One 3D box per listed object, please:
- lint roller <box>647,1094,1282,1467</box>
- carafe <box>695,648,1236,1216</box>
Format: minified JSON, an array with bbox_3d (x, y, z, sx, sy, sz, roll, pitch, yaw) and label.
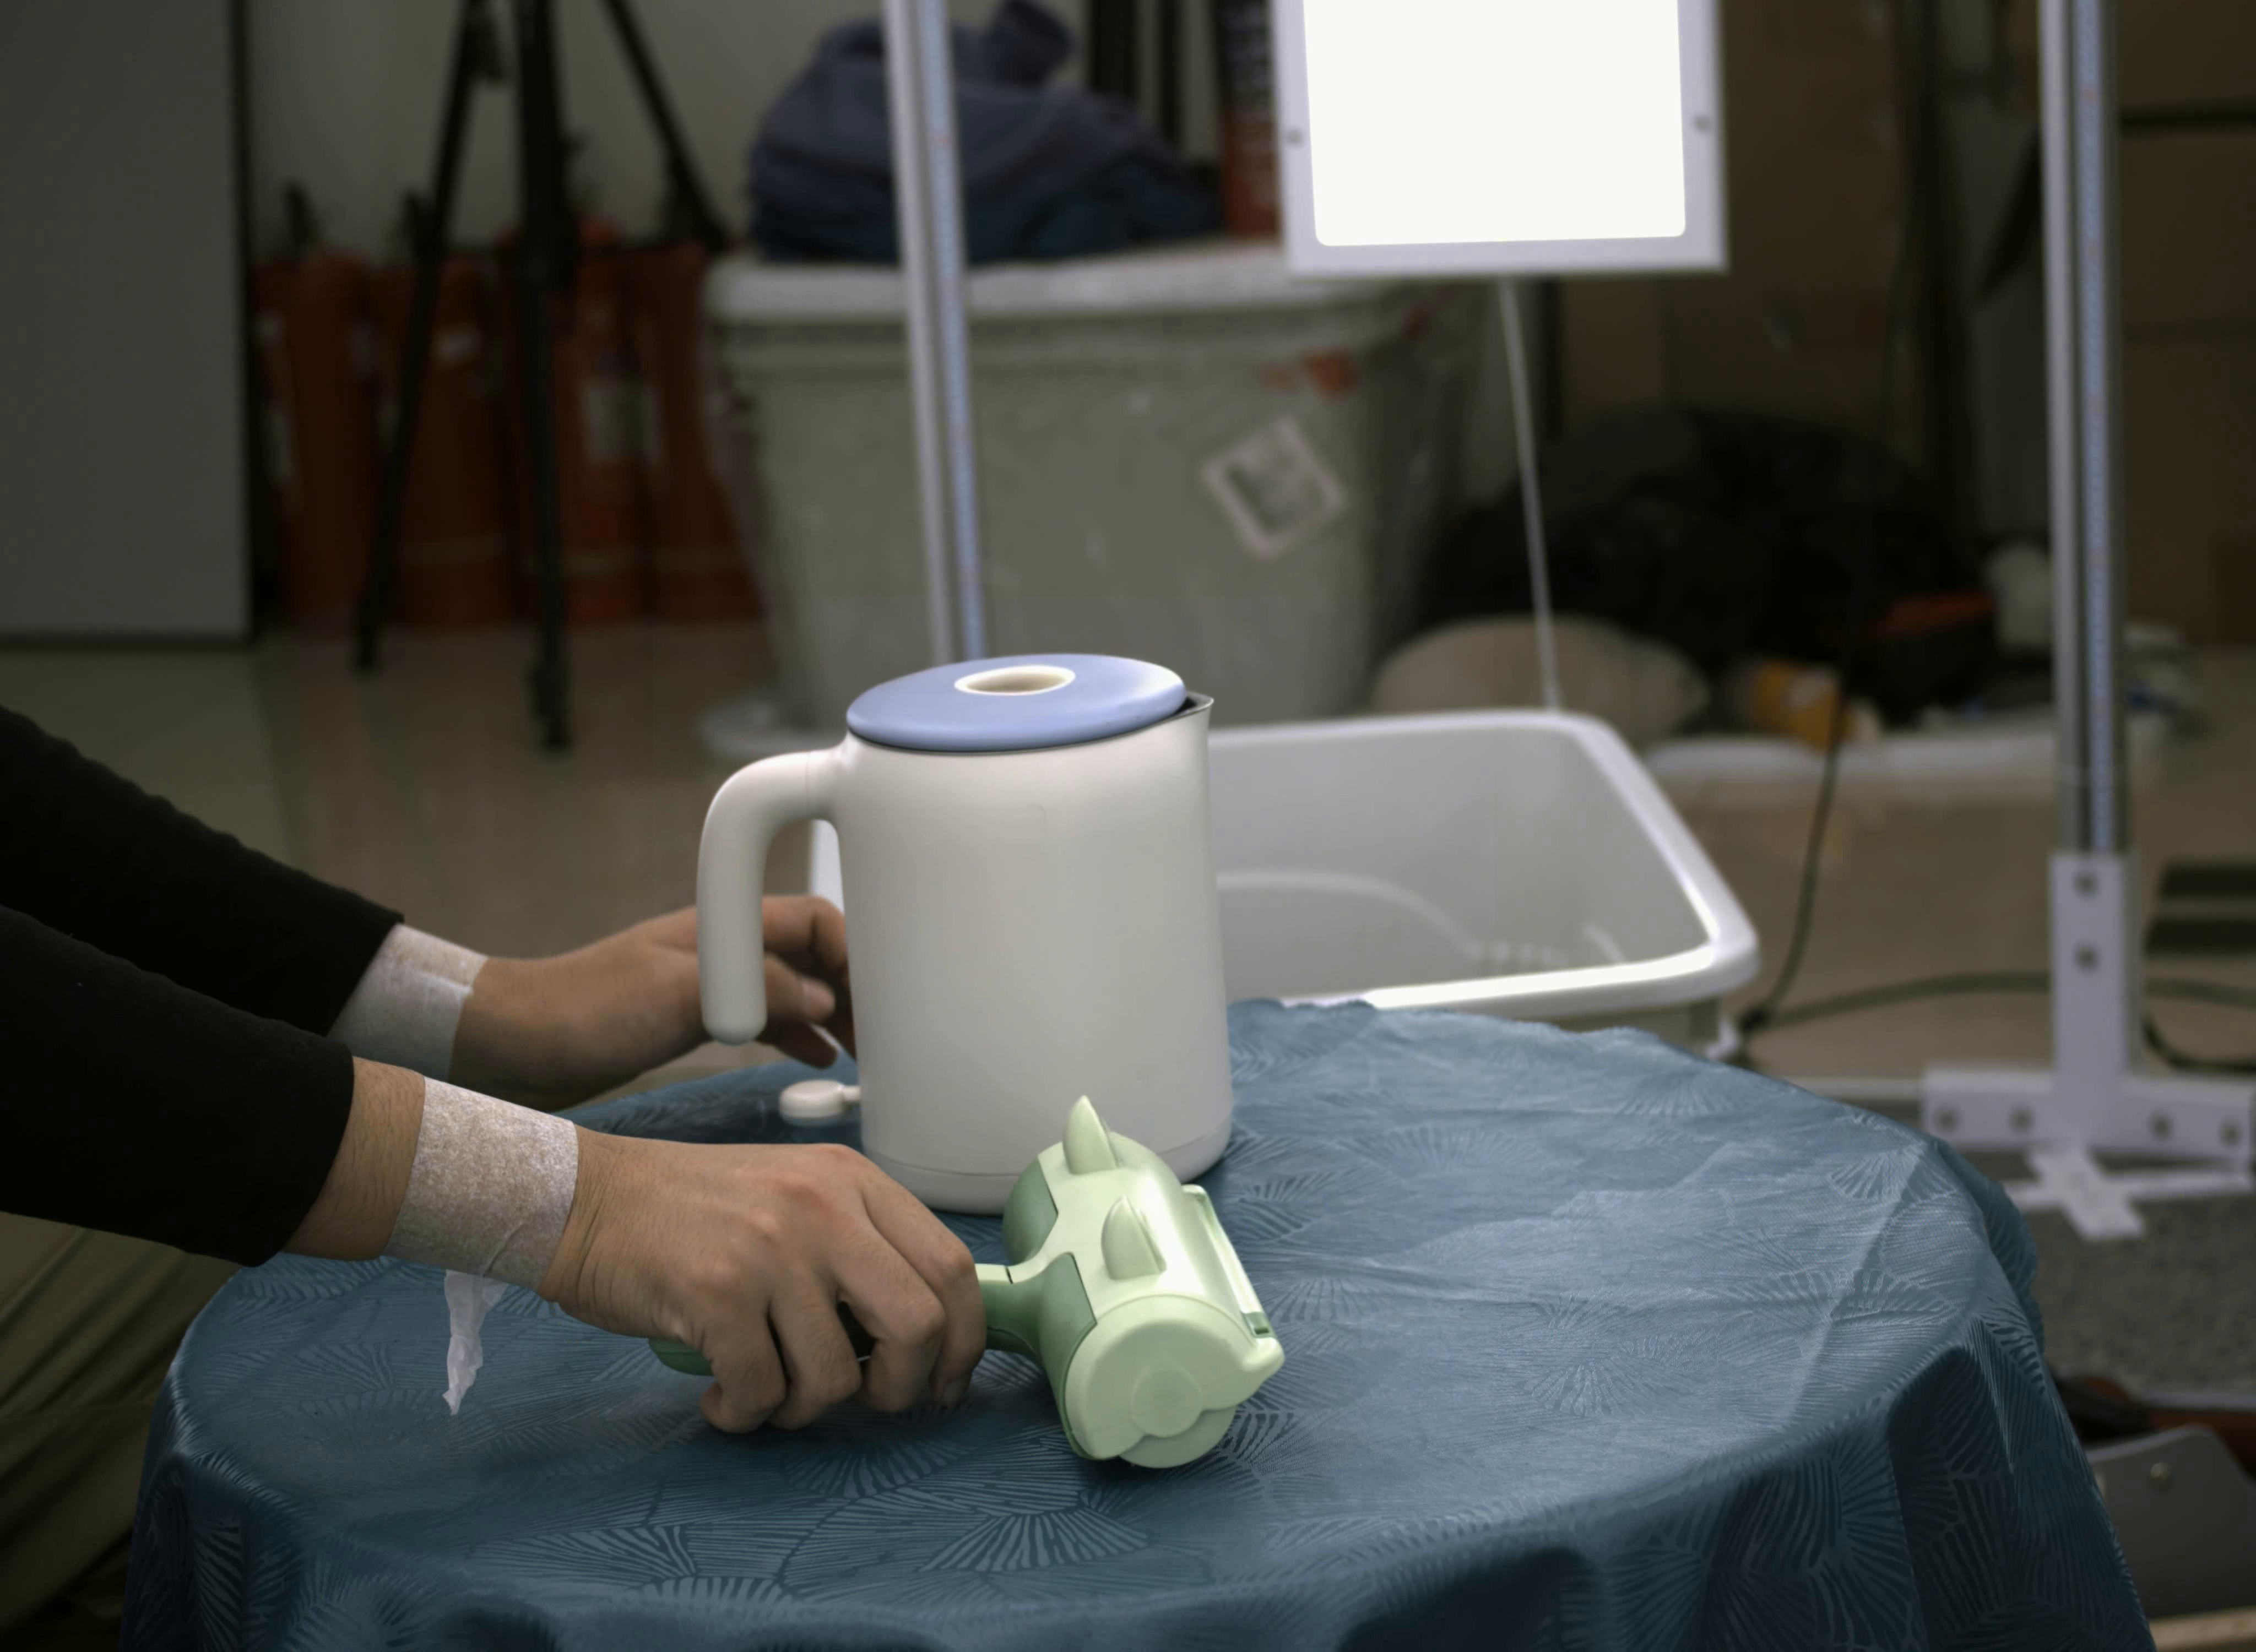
[{"bbox_3d":[-0.055,0.134,1.700,0.182,0.082,0.199,4,11,-6],"label":"lint roller"},{"bbox_3d":[-0.057,0.038,1.919,0.191,0.183,0.131,-5,13,7],"label":"carafe"}]
